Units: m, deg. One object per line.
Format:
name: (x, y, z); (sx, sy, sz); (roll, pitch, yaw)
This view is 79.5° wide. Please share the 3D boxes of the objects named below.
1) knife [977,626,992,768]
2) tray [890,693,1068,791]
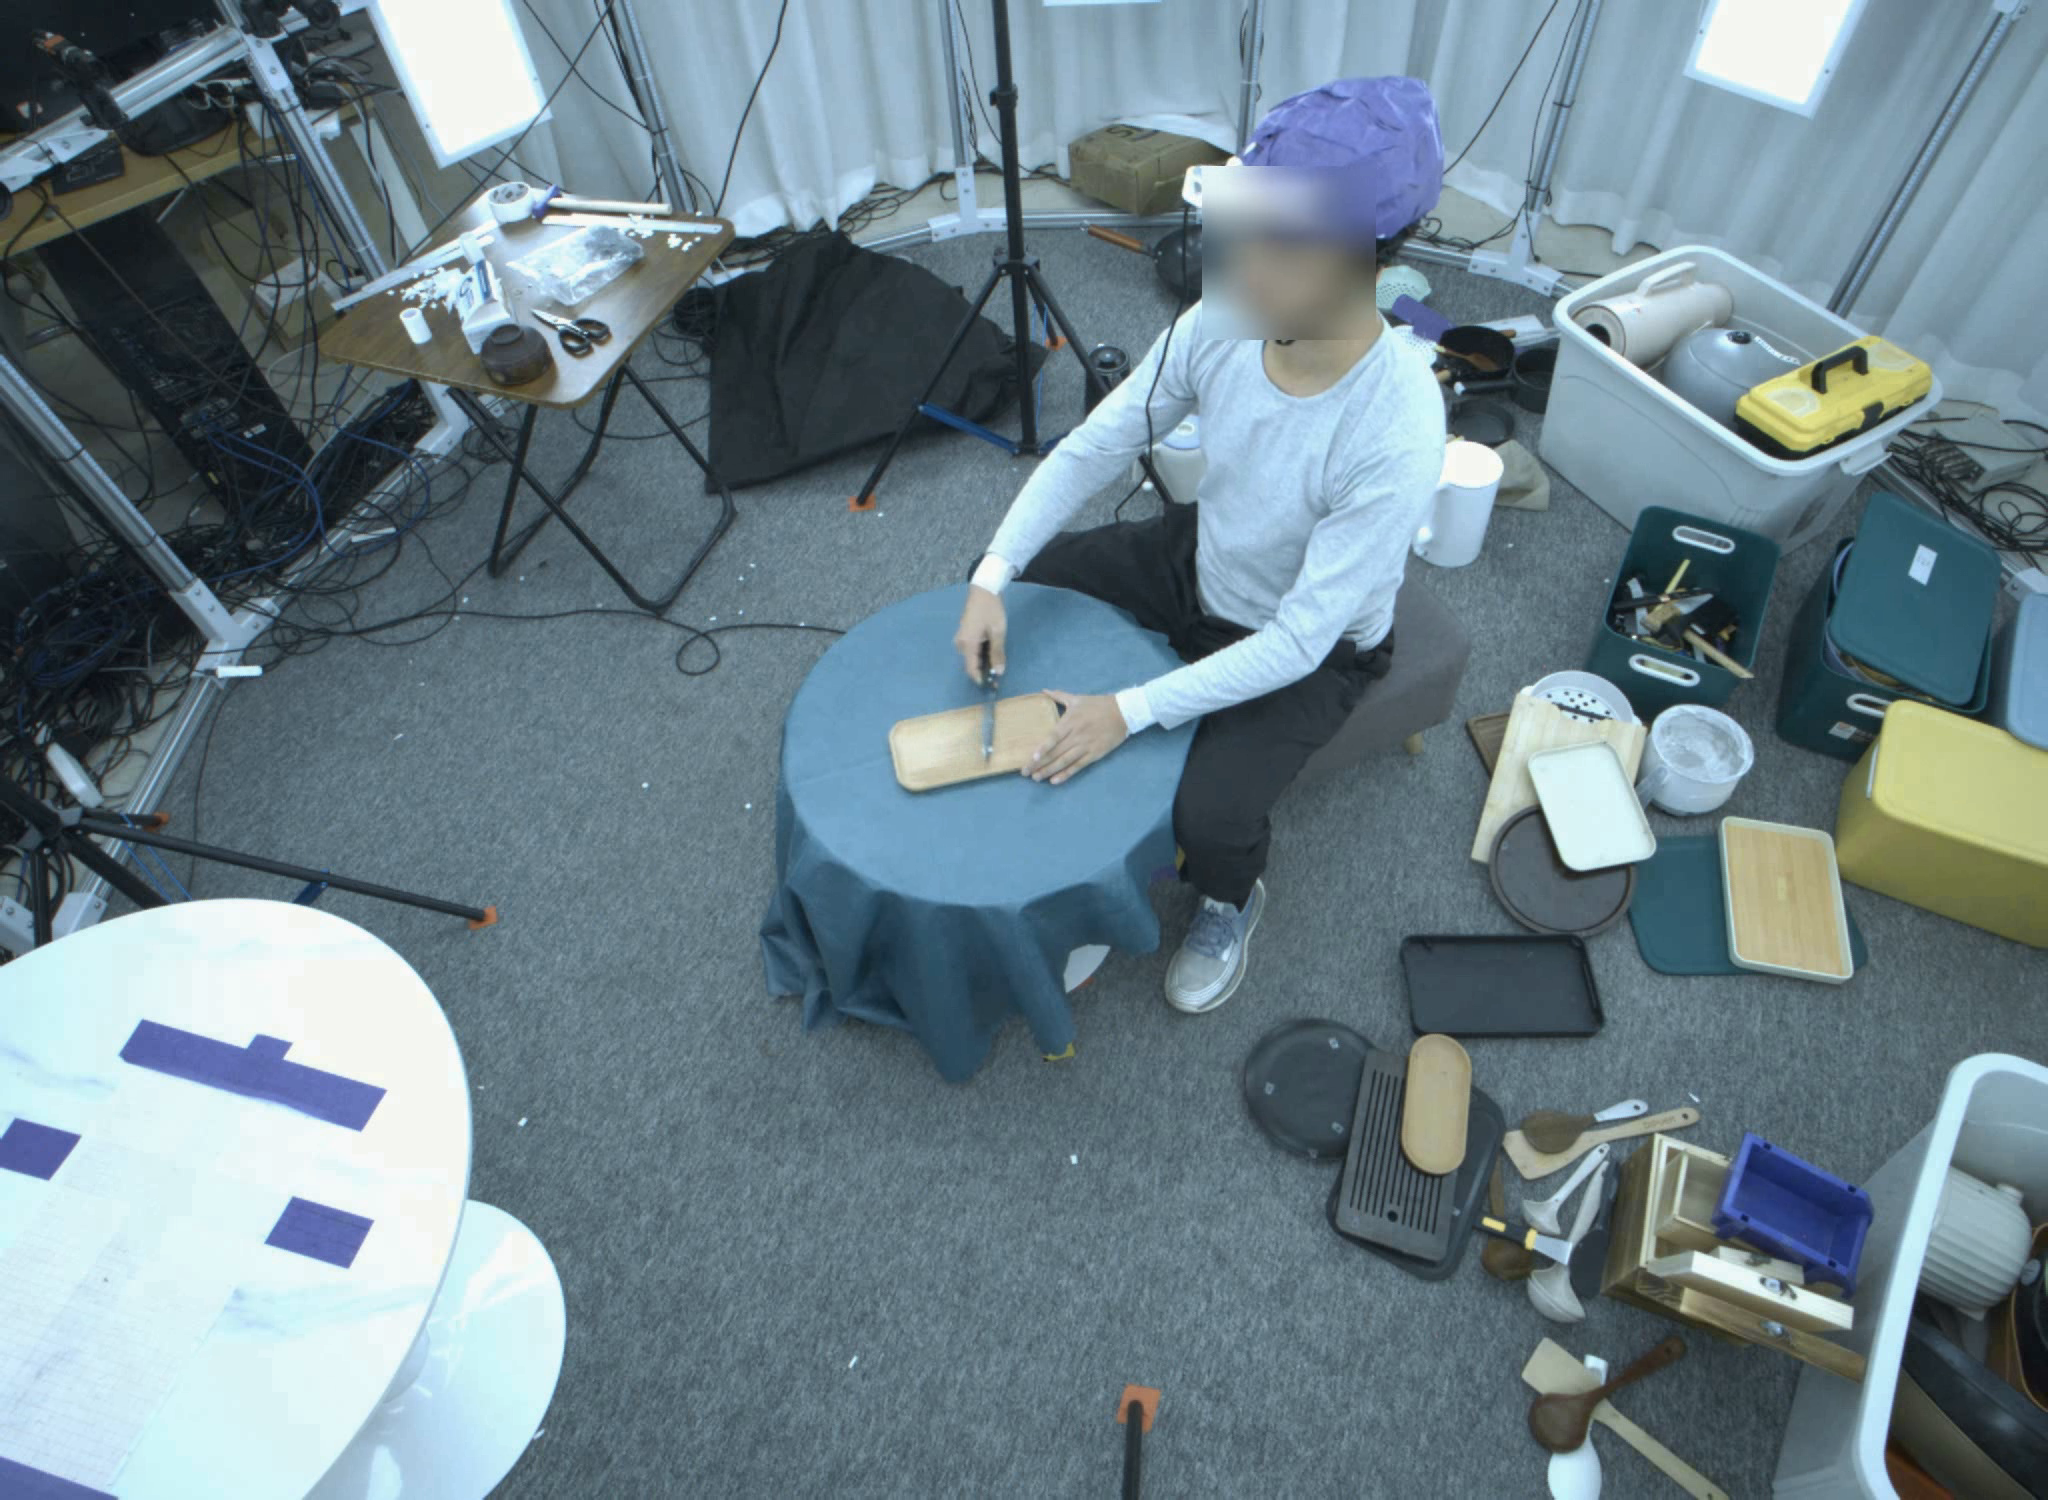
knife: (-0.058, -0.082, 1.803); (0.025, 0.016, 0.236); (18, 59, -33)
tray: (-0.067, -0.013, 1.796); (0.252, 0.023, 0.128); (-10, 58, -7)
